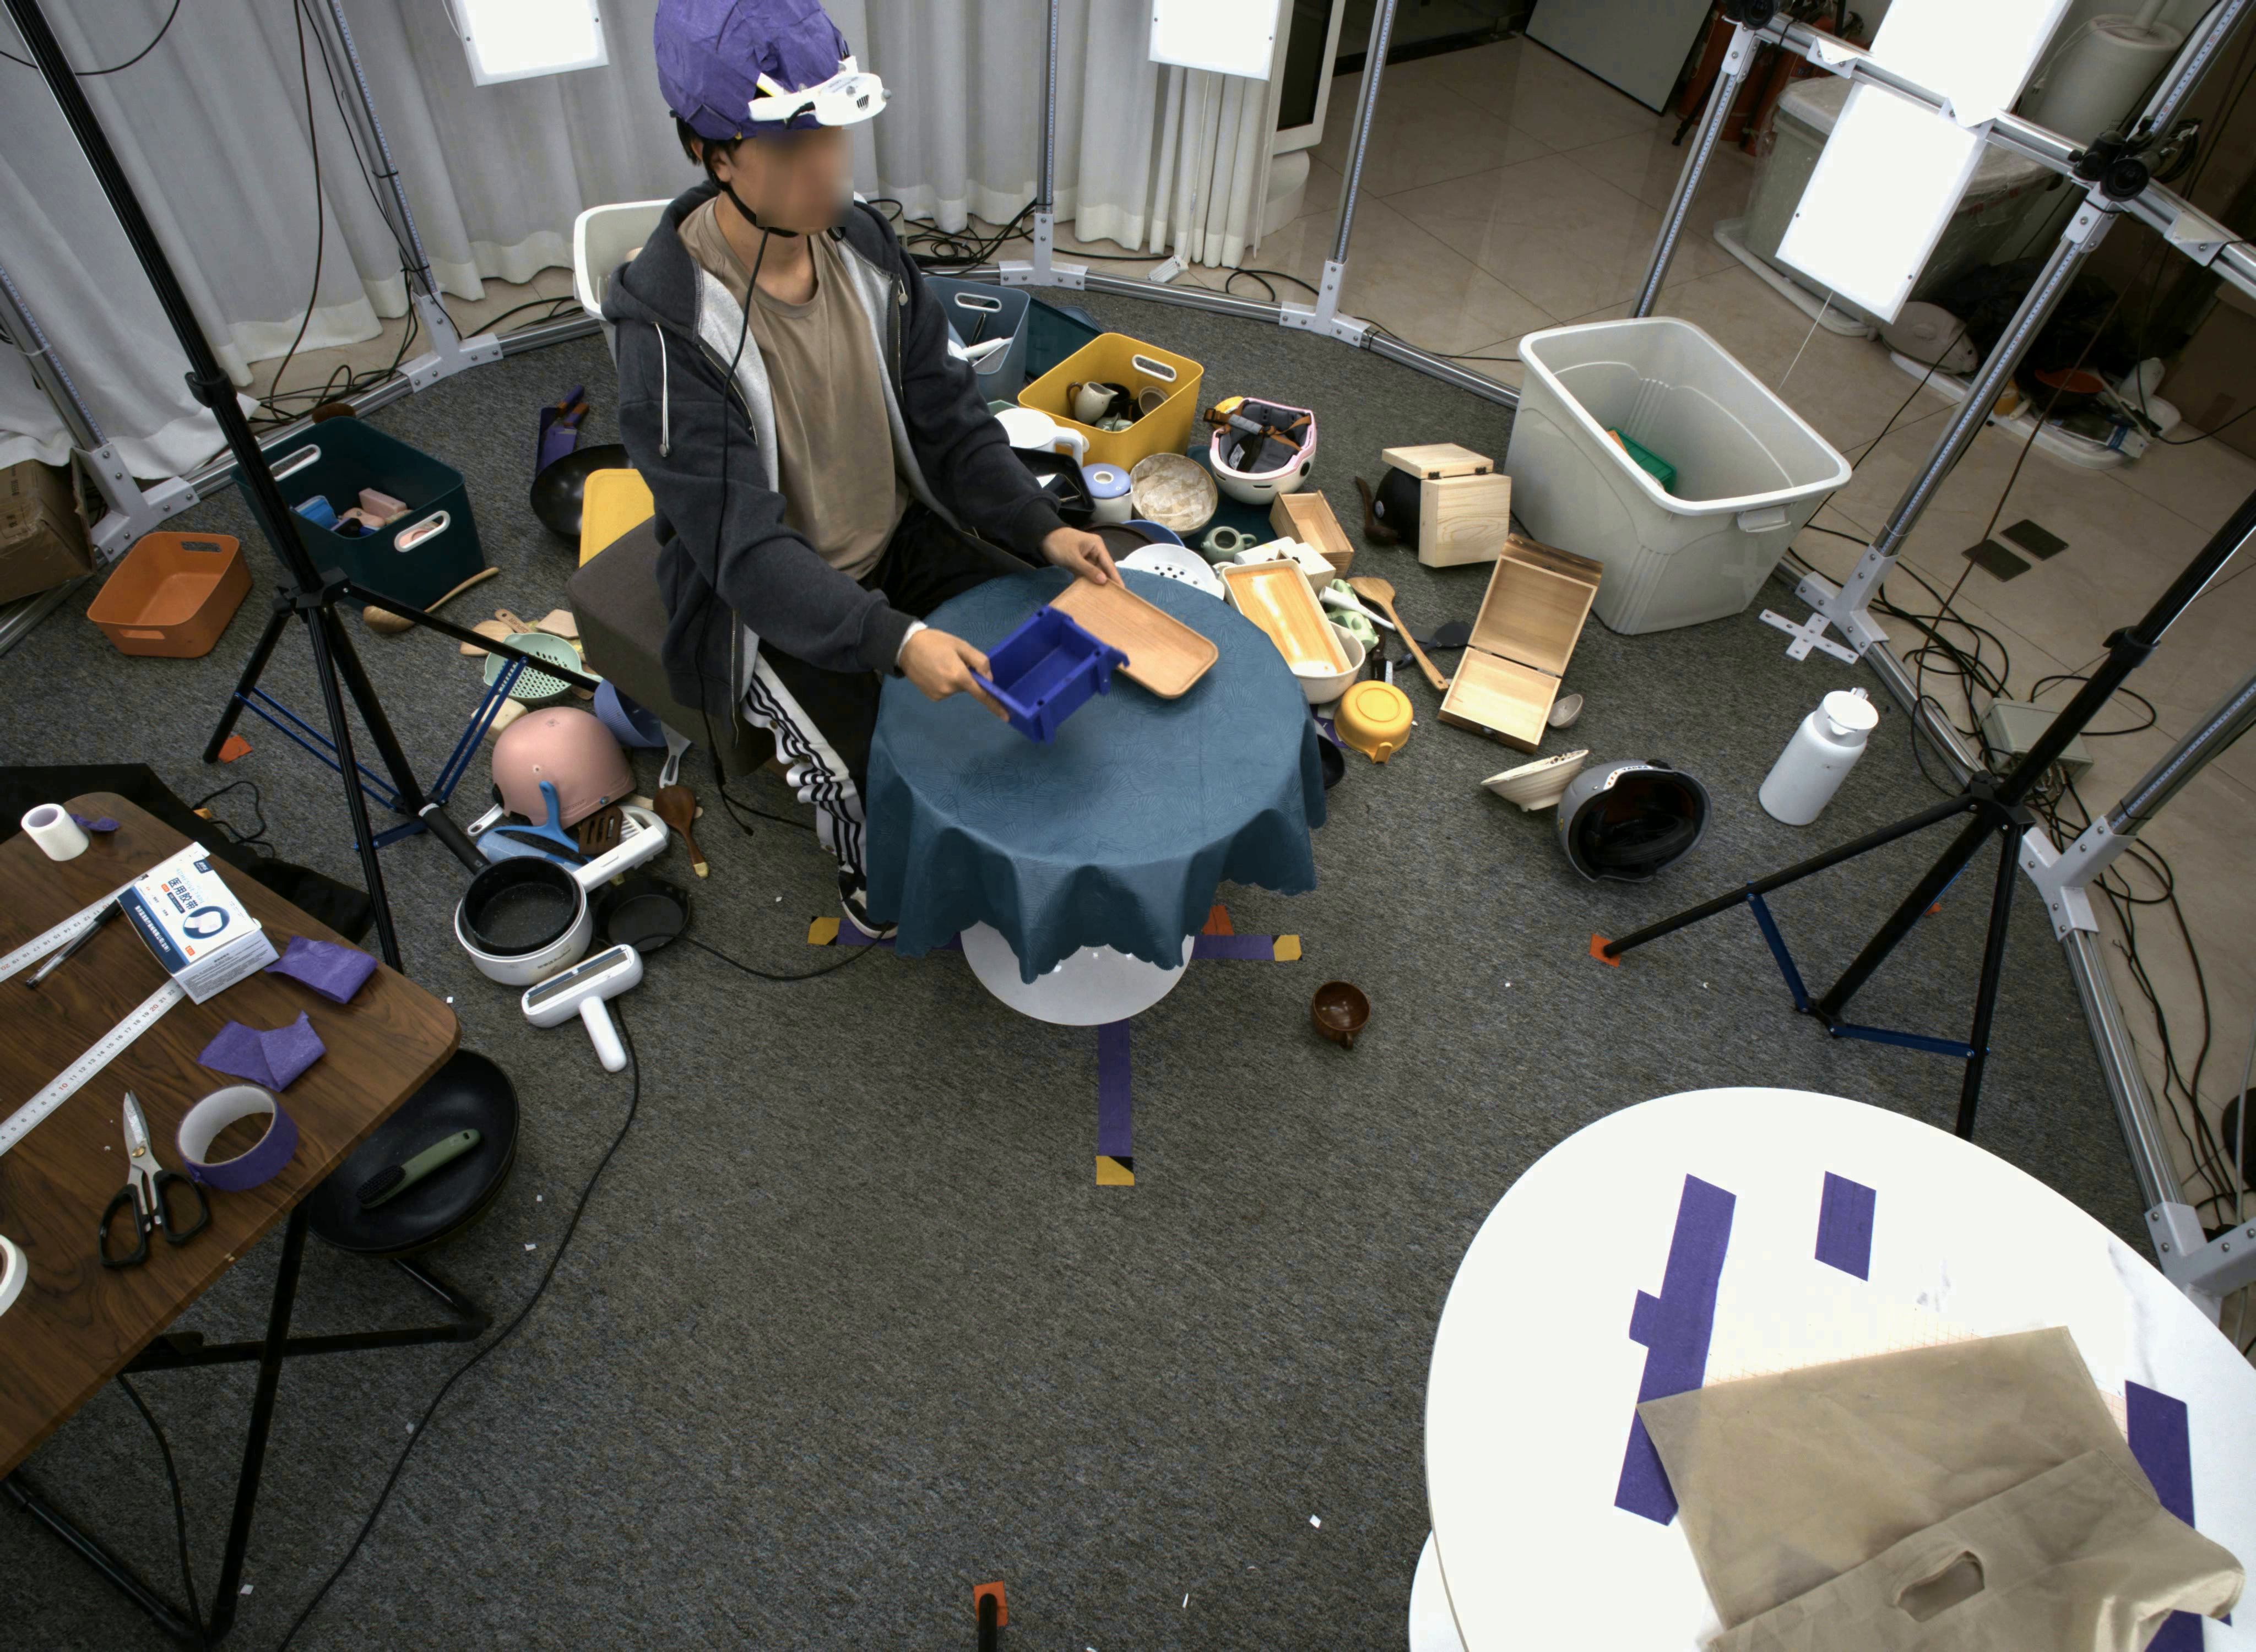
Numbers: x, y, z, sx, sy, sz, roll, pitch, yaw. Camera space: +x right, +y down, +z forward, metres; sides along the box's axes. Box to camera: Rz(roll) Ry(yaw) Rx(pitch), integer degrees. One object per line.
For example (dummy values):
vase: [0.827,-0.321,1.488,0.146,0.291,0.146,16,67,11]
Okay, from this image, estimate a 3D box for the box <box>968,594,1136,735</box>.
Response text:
box: [-0.097,-0.216,1.680,0.180,0.080,0.126,-43,61,-16]

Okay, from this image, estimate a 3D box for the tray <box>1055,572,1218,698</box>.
tray: [0.003,-0.279,1.864,0.253,0.022,0.132,35,57,21]
